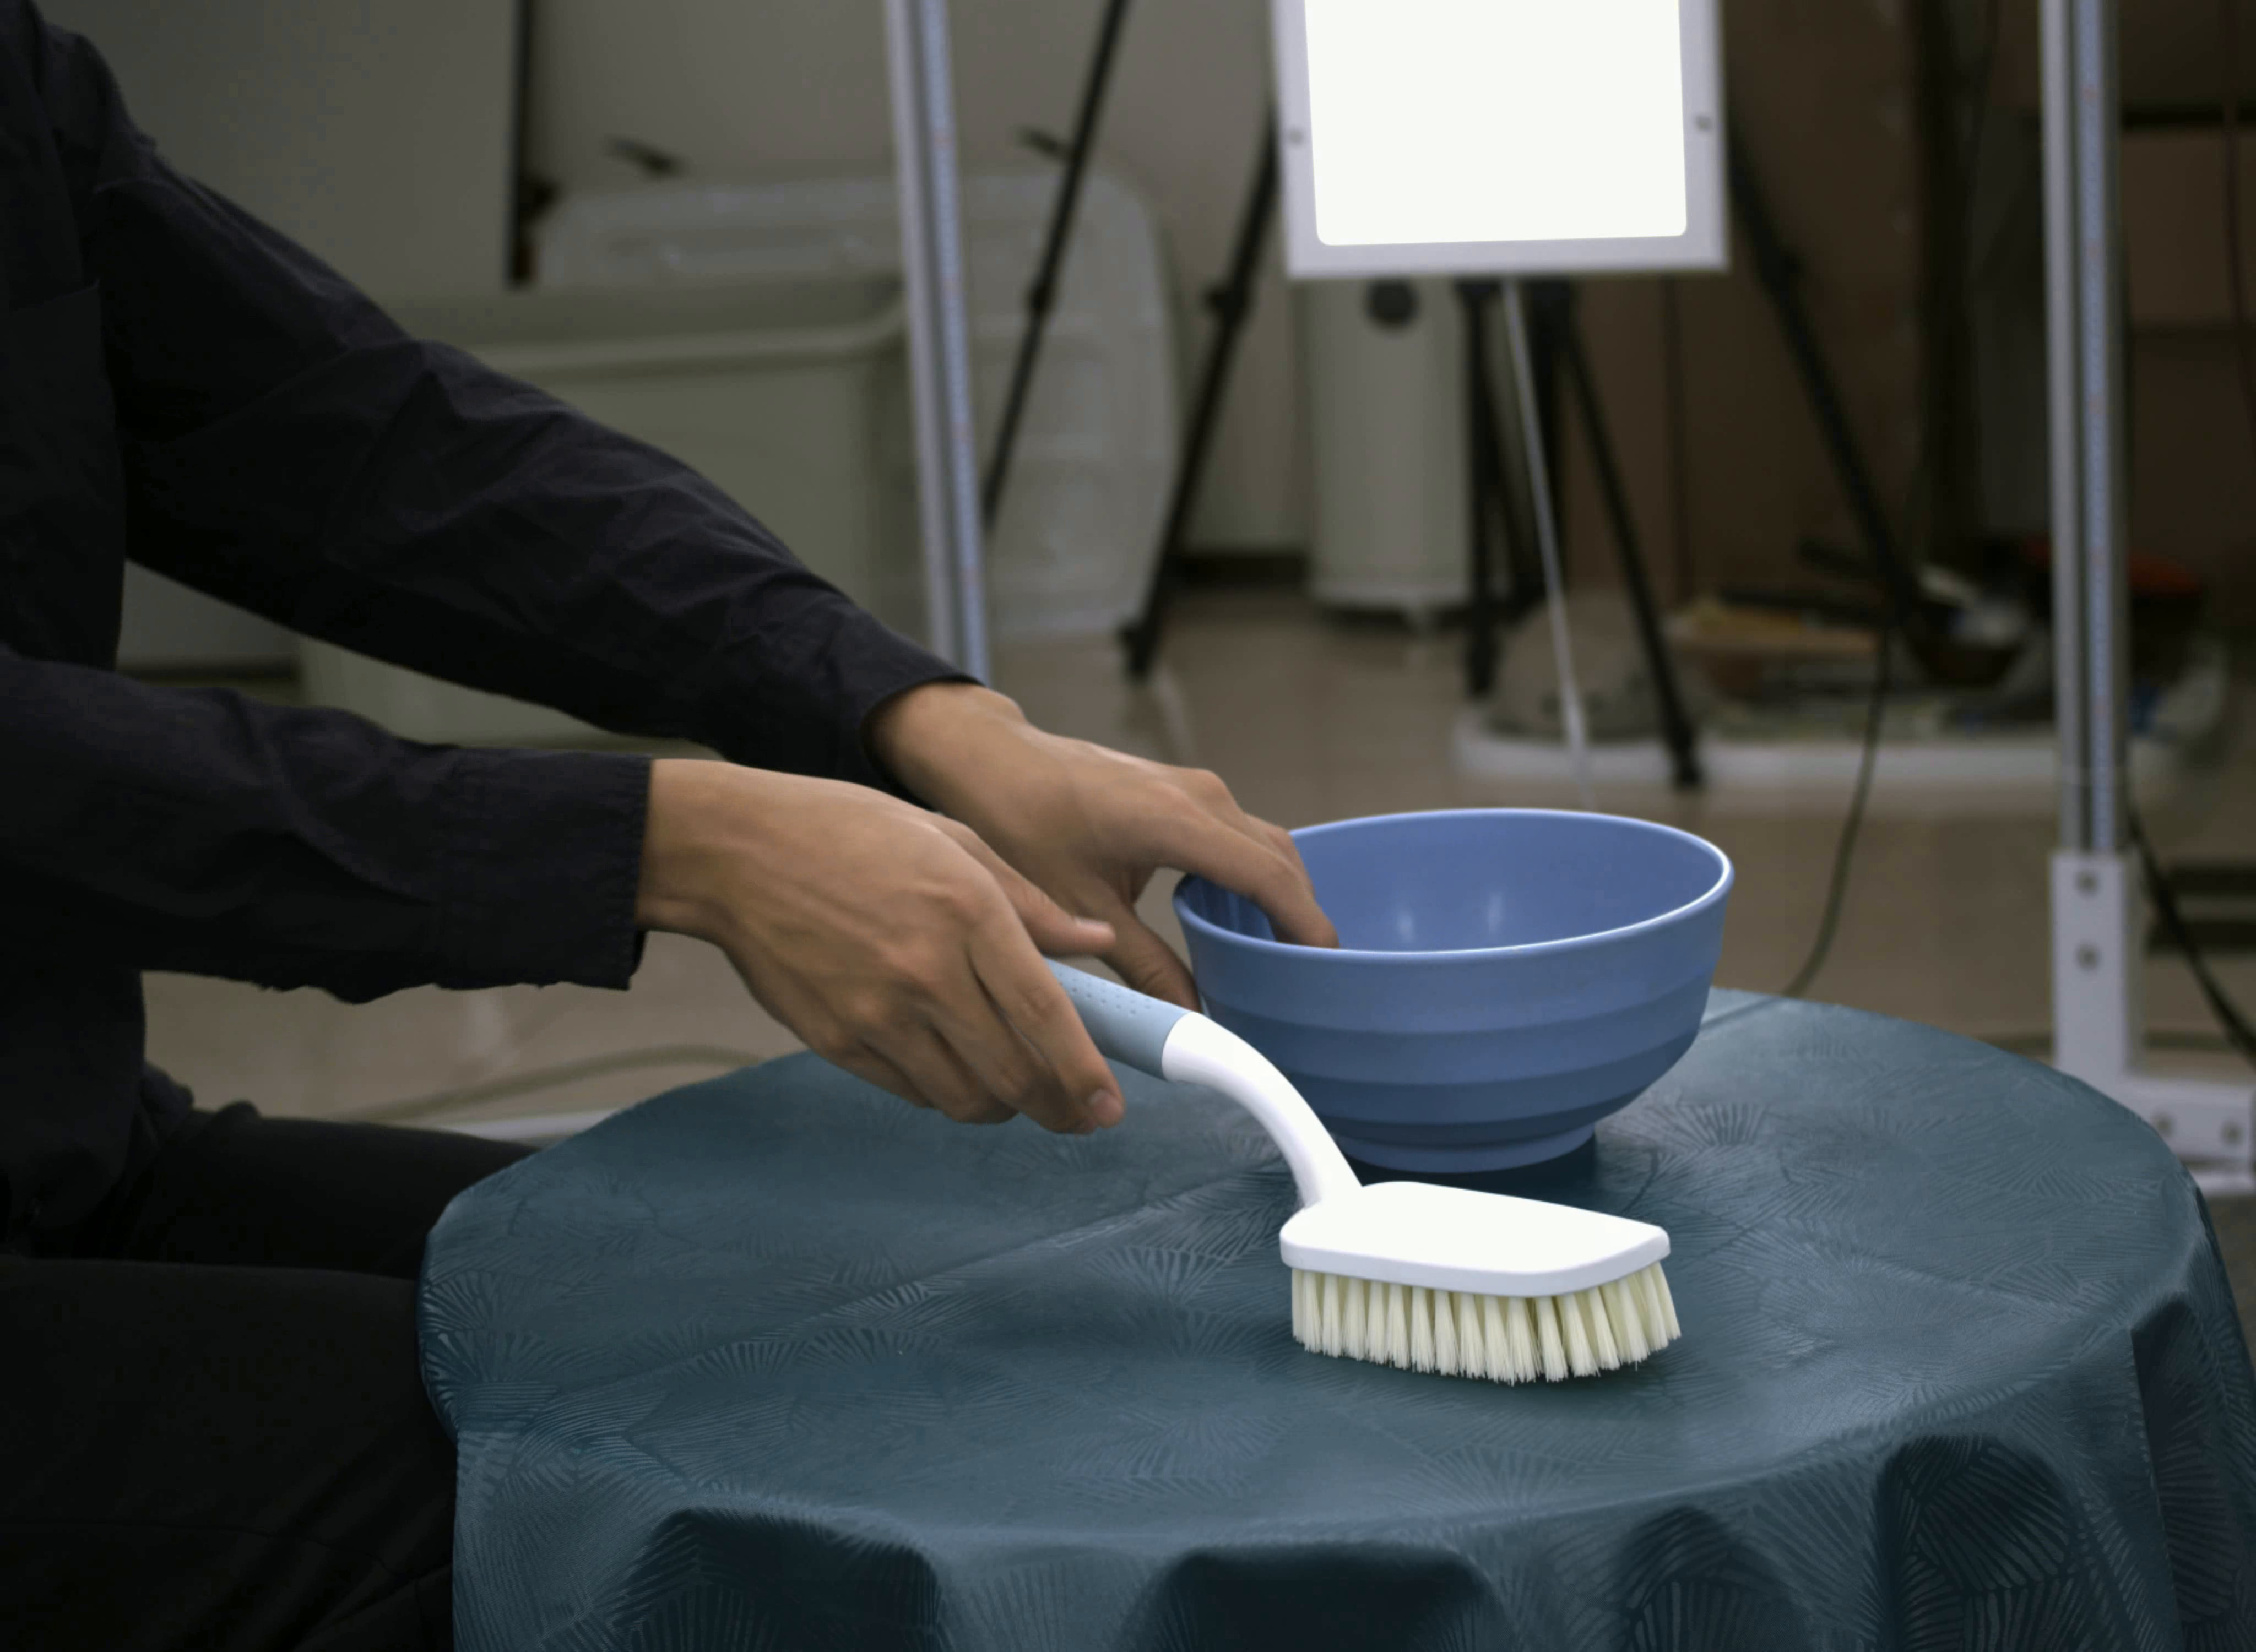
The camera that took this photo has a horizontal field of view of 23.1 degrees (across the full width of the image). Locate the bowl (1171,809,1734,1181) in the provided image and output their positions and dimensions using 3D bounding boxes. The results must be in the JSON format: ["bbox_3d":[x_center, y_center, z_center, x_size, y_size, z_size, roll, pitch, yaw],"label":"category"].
[{"bbox_3d":[0.117,0.065,1.918,0.196,0.096,0.196,-6,14,0],"label":"bowl"}]

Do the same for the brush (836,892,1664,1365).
[{"bbox_3d":[0.033,0.110,1.772,0.331,0.084,0.082,20,-12,35],"label":"brush"}]
